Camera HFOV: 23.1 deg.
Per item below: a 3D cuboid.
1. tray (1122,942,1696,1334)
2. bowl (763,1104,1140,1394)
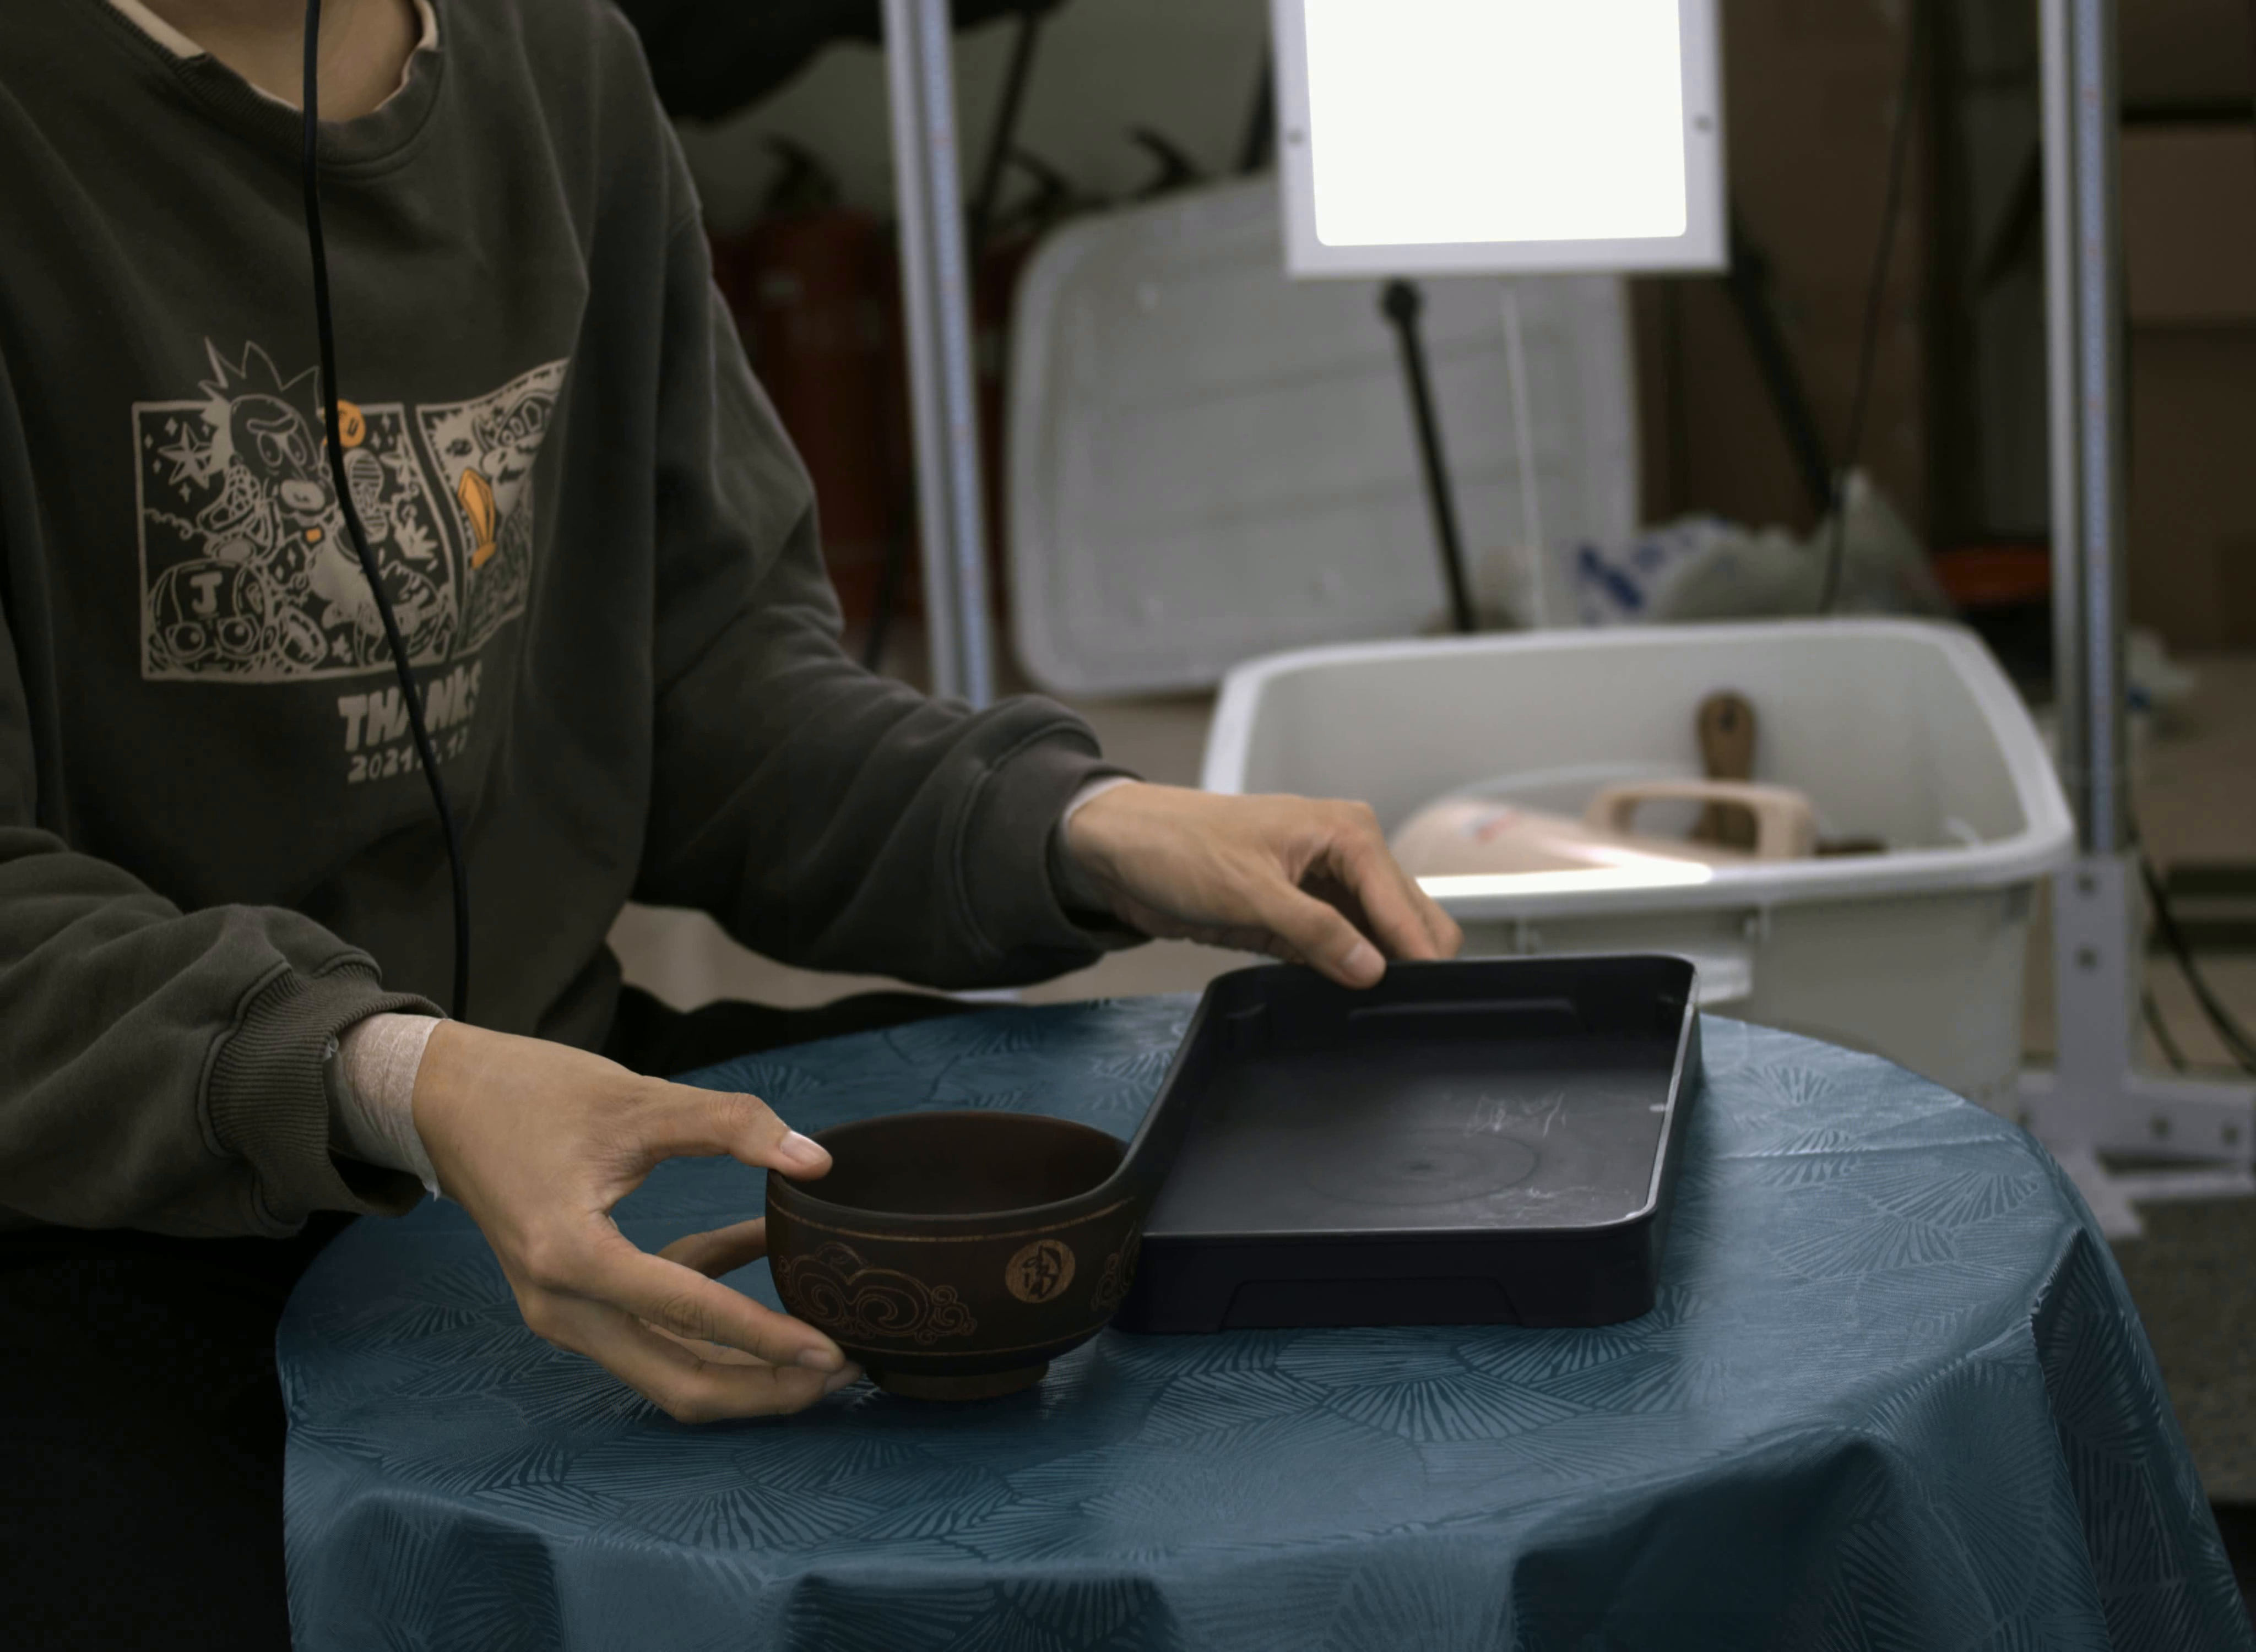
[{"bbox_3d":[0.101,0.103,1.883,0.185,0.037,0.315,-4,14,9],"label":"tray"},{"bbox_3d":[-0.054,0.135,1.710,0.117,0.070,0.118,-3,12,-1],"label":"bowl"}]
